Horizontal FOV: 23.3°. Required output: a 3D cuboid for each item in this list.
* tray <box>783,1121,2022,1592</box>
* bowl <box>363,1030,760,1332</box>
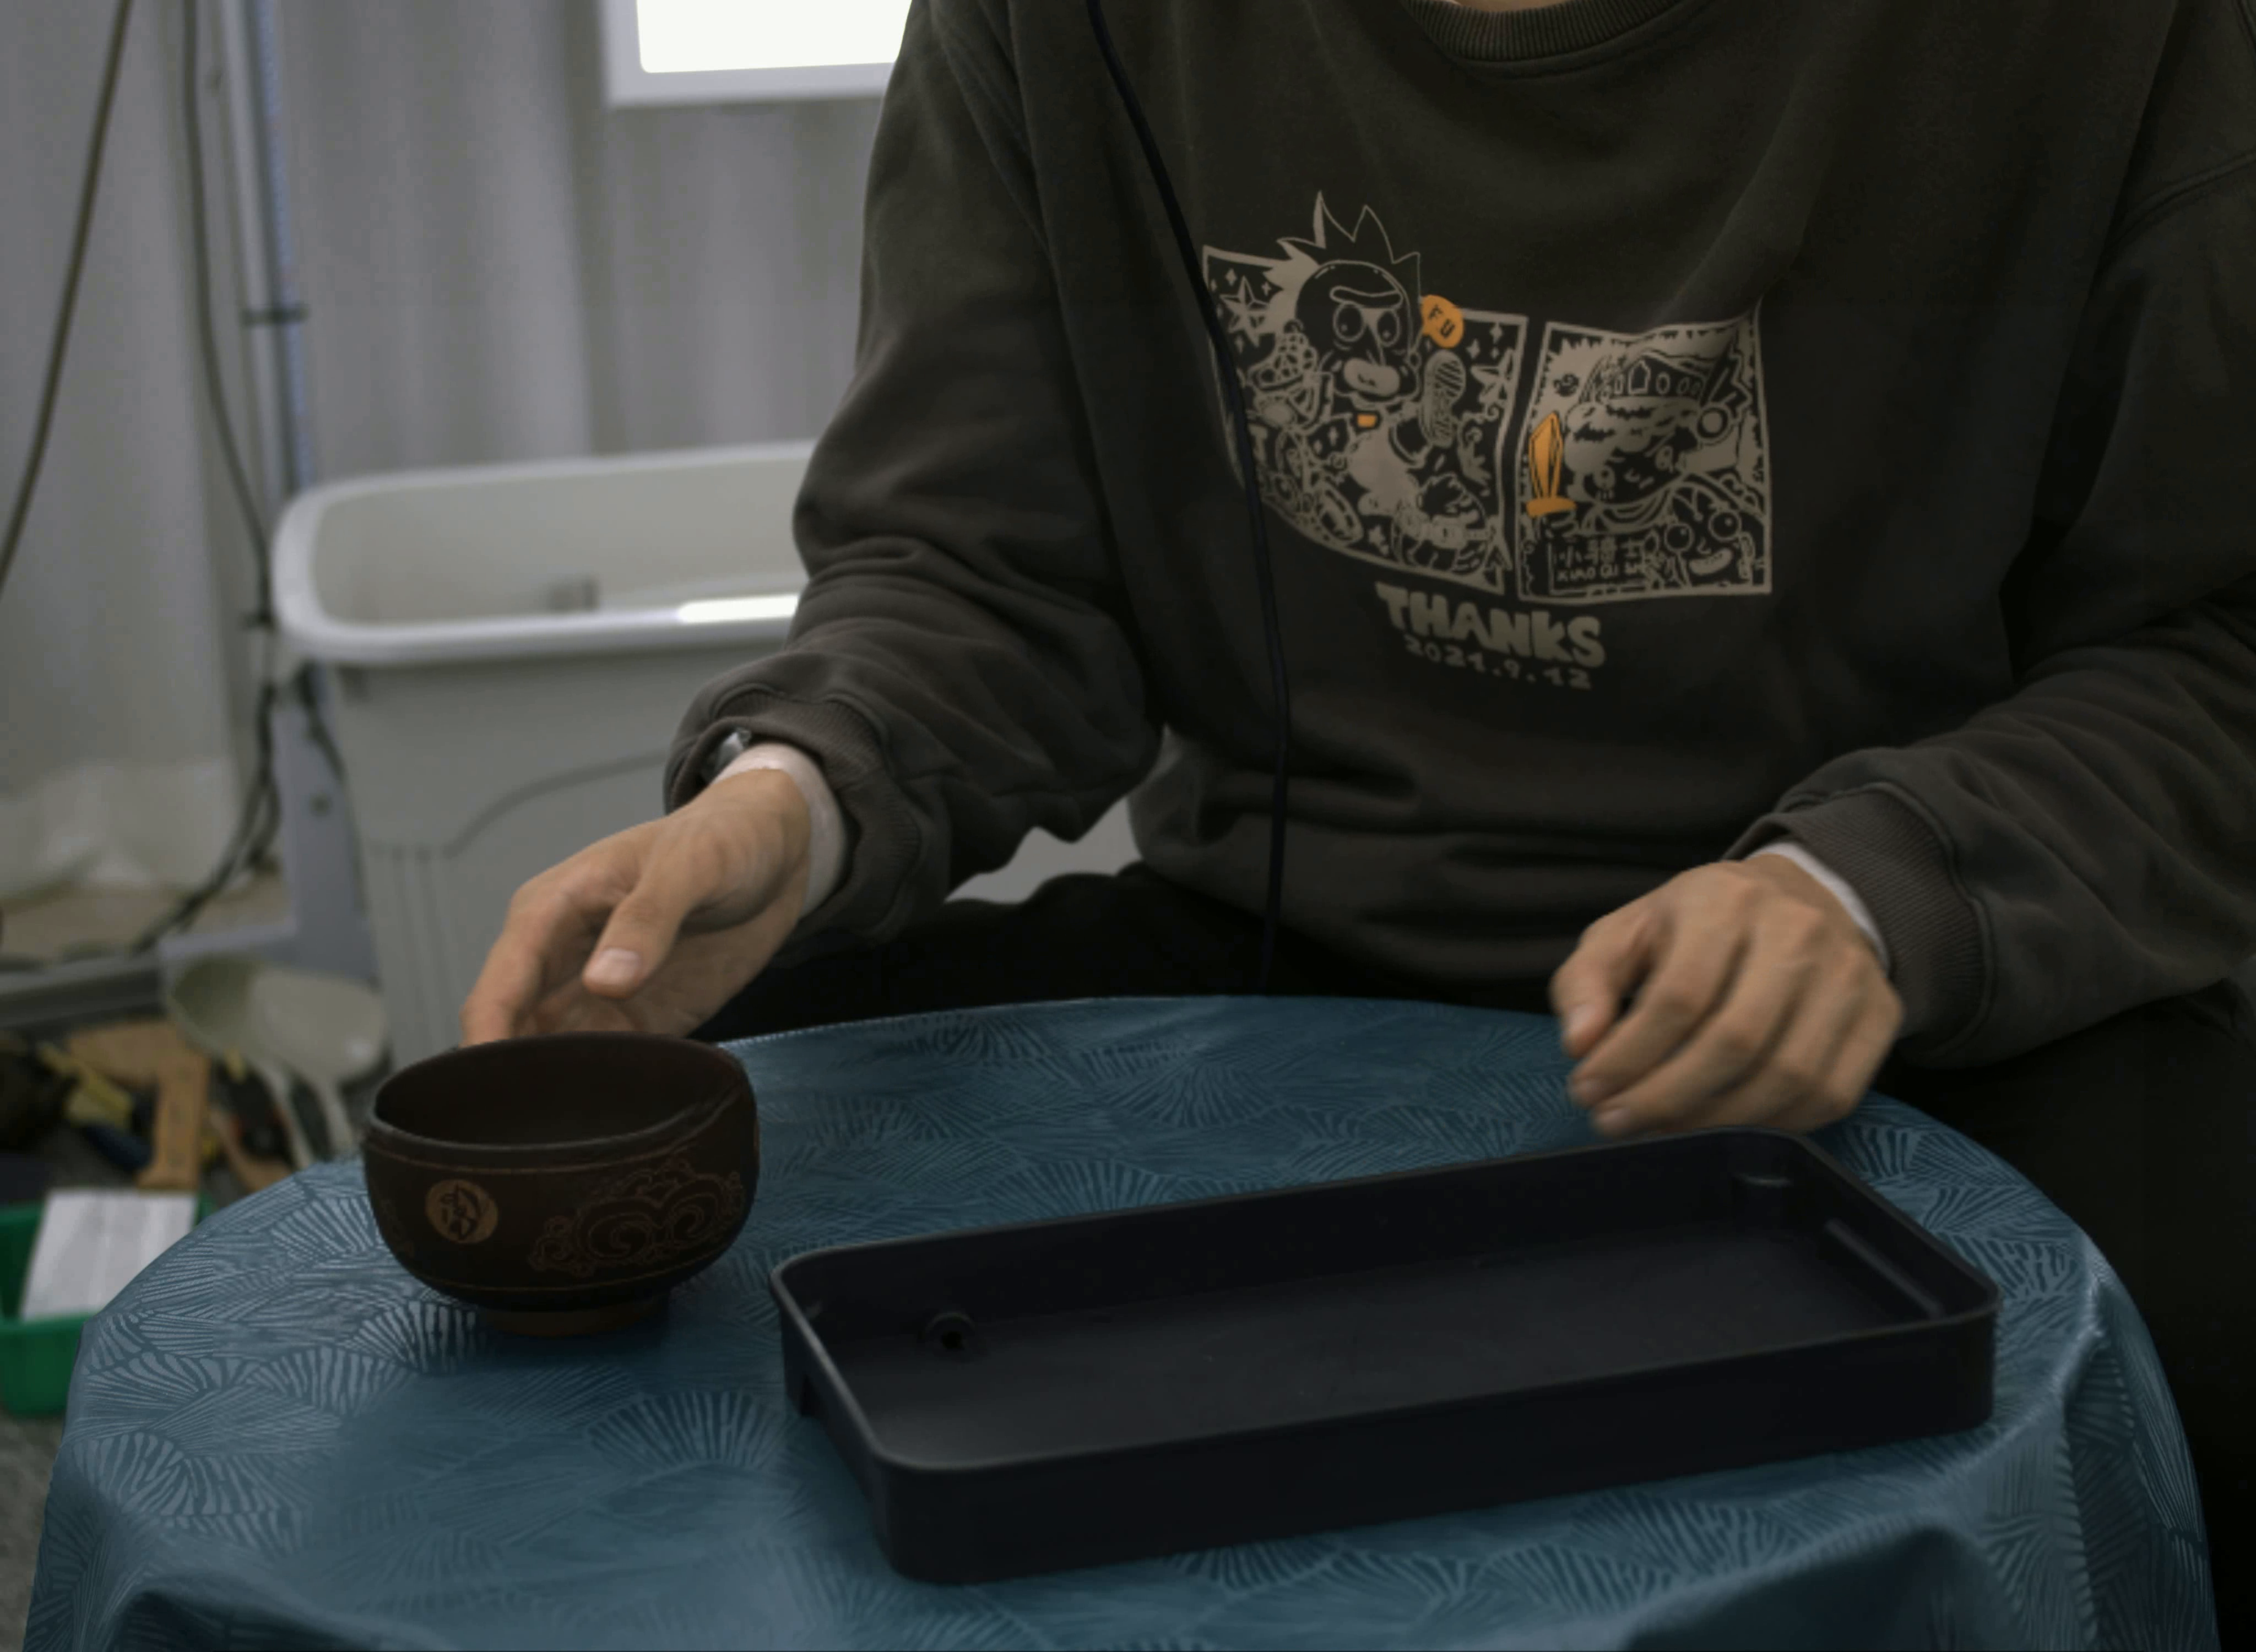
[{"bbox_3d":[0.074,0.144,1.532,0.316,0.037,0.186,-8,15,-15],"label":"tray"},{"bbox_3d":[-0.168,0.110,1.637,0.117,0.069,0.119,-3,13,0],"label":"bowl"}]
